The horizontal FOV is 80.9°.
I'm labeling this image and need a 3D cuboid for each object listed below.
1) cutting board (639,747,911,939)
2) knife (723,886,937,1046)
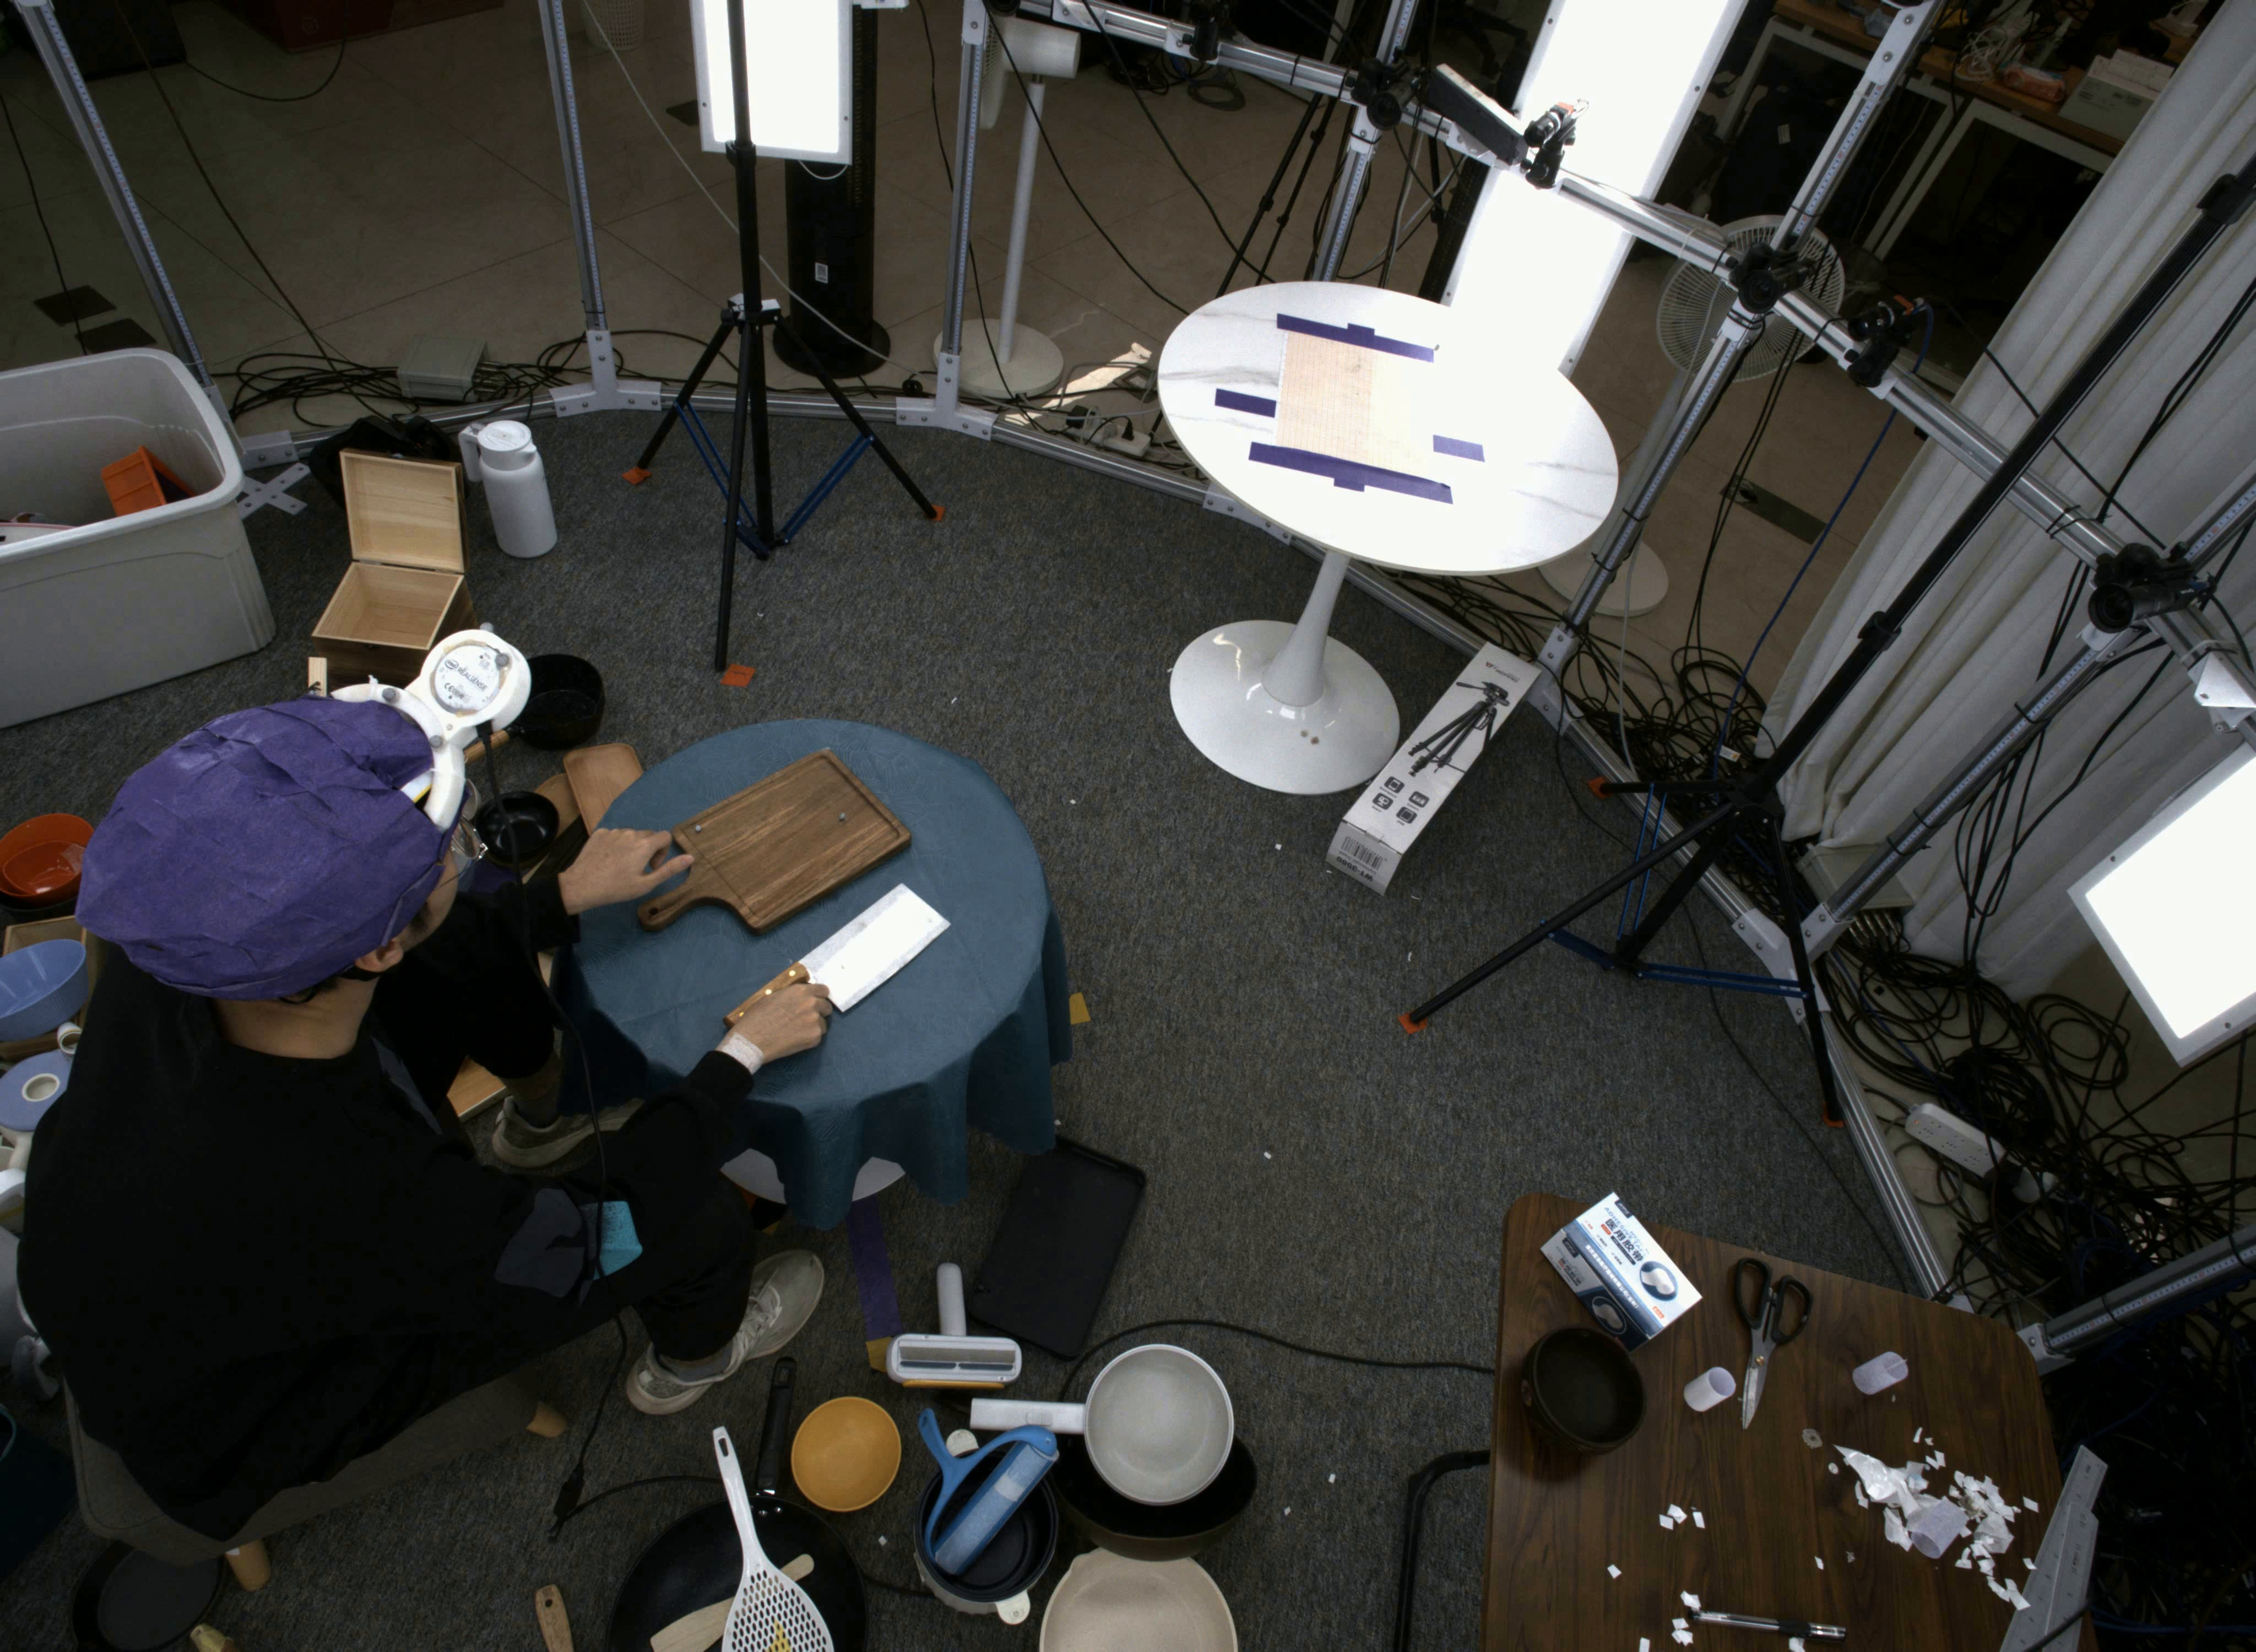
[{"bbox_3d":[-0.473,0.037,1.660,0.196,0.023,0.353,43,55,18],"label":"cutting board"},{"bbox_3d":[-0.354,0.177,1.590,0.091,0.021,0.306,39,51,13],"label":"knife"}]
